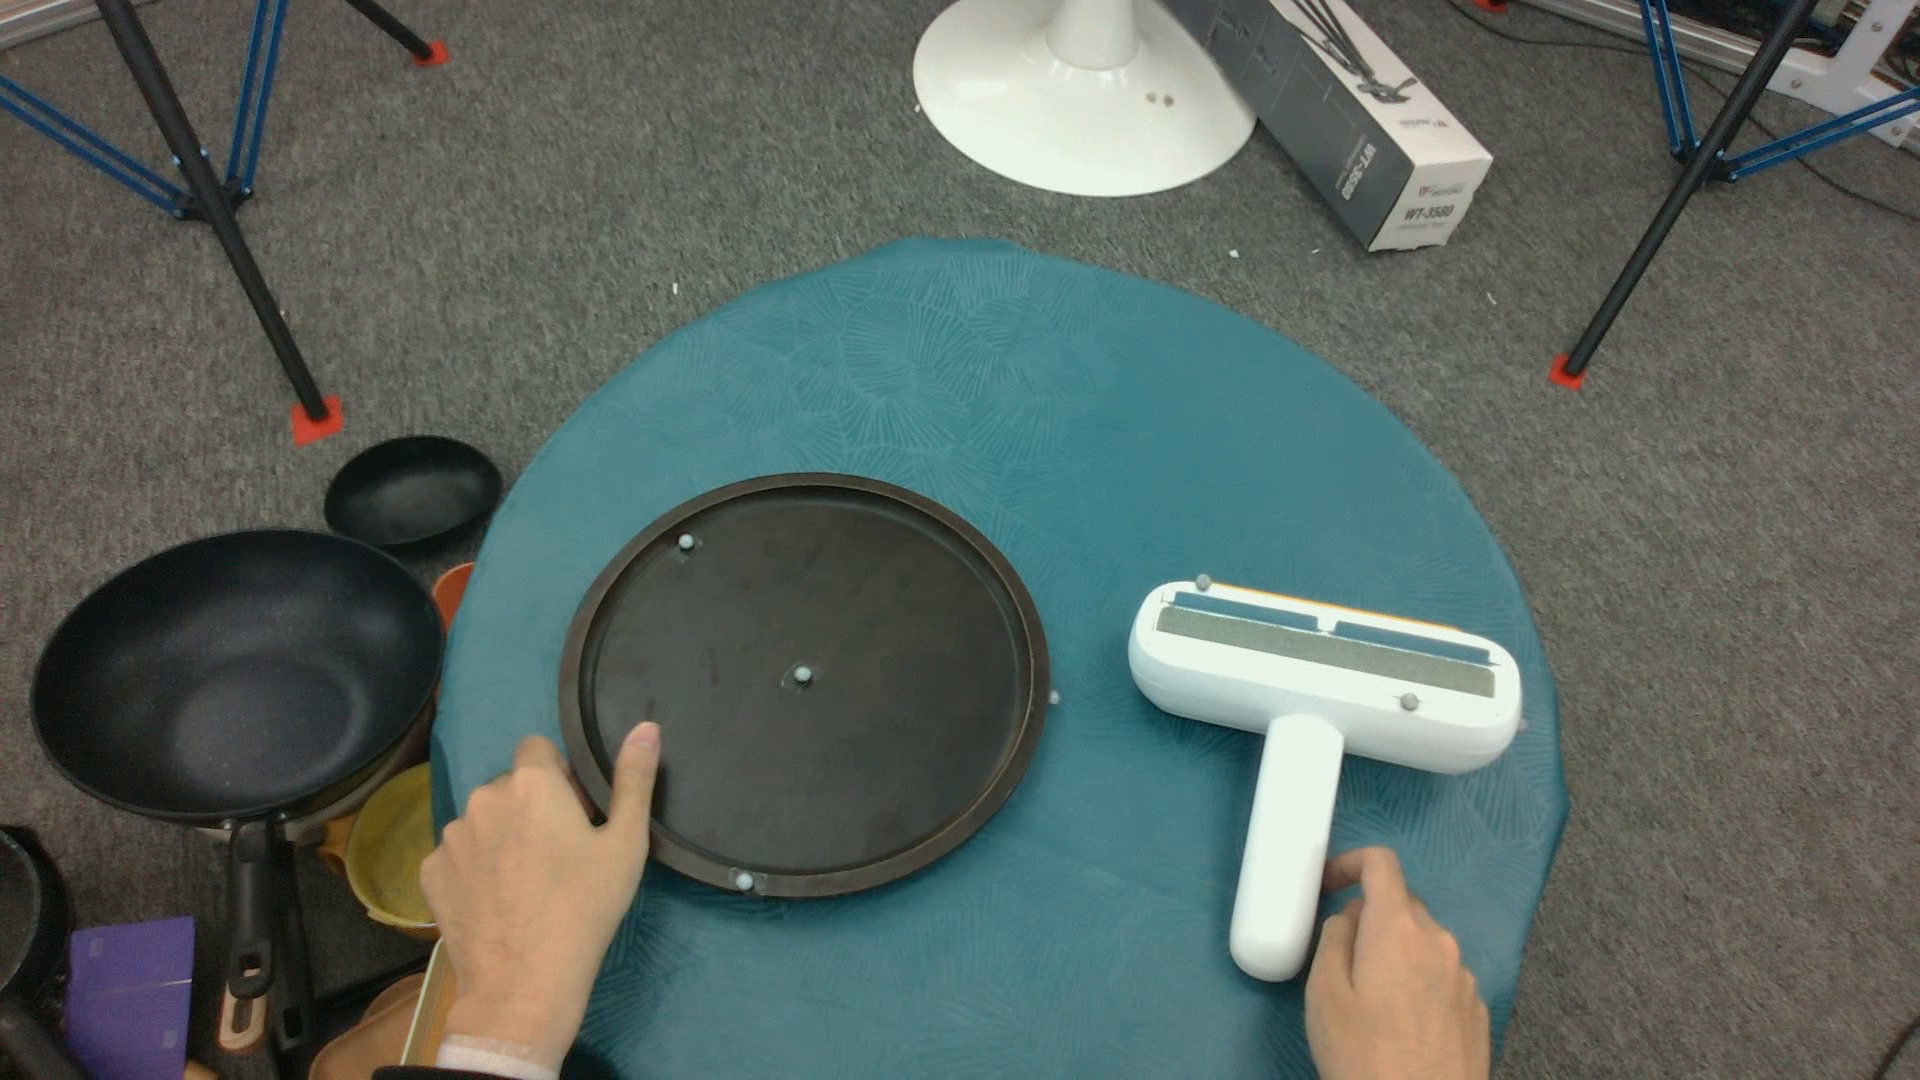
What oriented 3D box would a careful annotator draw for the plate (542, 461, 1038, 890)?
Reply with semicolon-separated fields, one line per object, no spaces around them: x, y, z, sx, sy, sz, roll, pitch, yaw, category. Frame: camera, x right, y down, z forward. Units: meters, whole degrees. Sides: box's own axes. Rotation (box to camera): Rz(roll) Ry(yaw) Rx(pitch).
-0.086;0.062;0.719;0.255;0.029;0.256;3;56;-4;plate

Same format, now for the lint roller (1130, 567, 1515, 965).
0.162;0.113;0.681;0.193;0.074;0.193;17;56;13;lint roller
